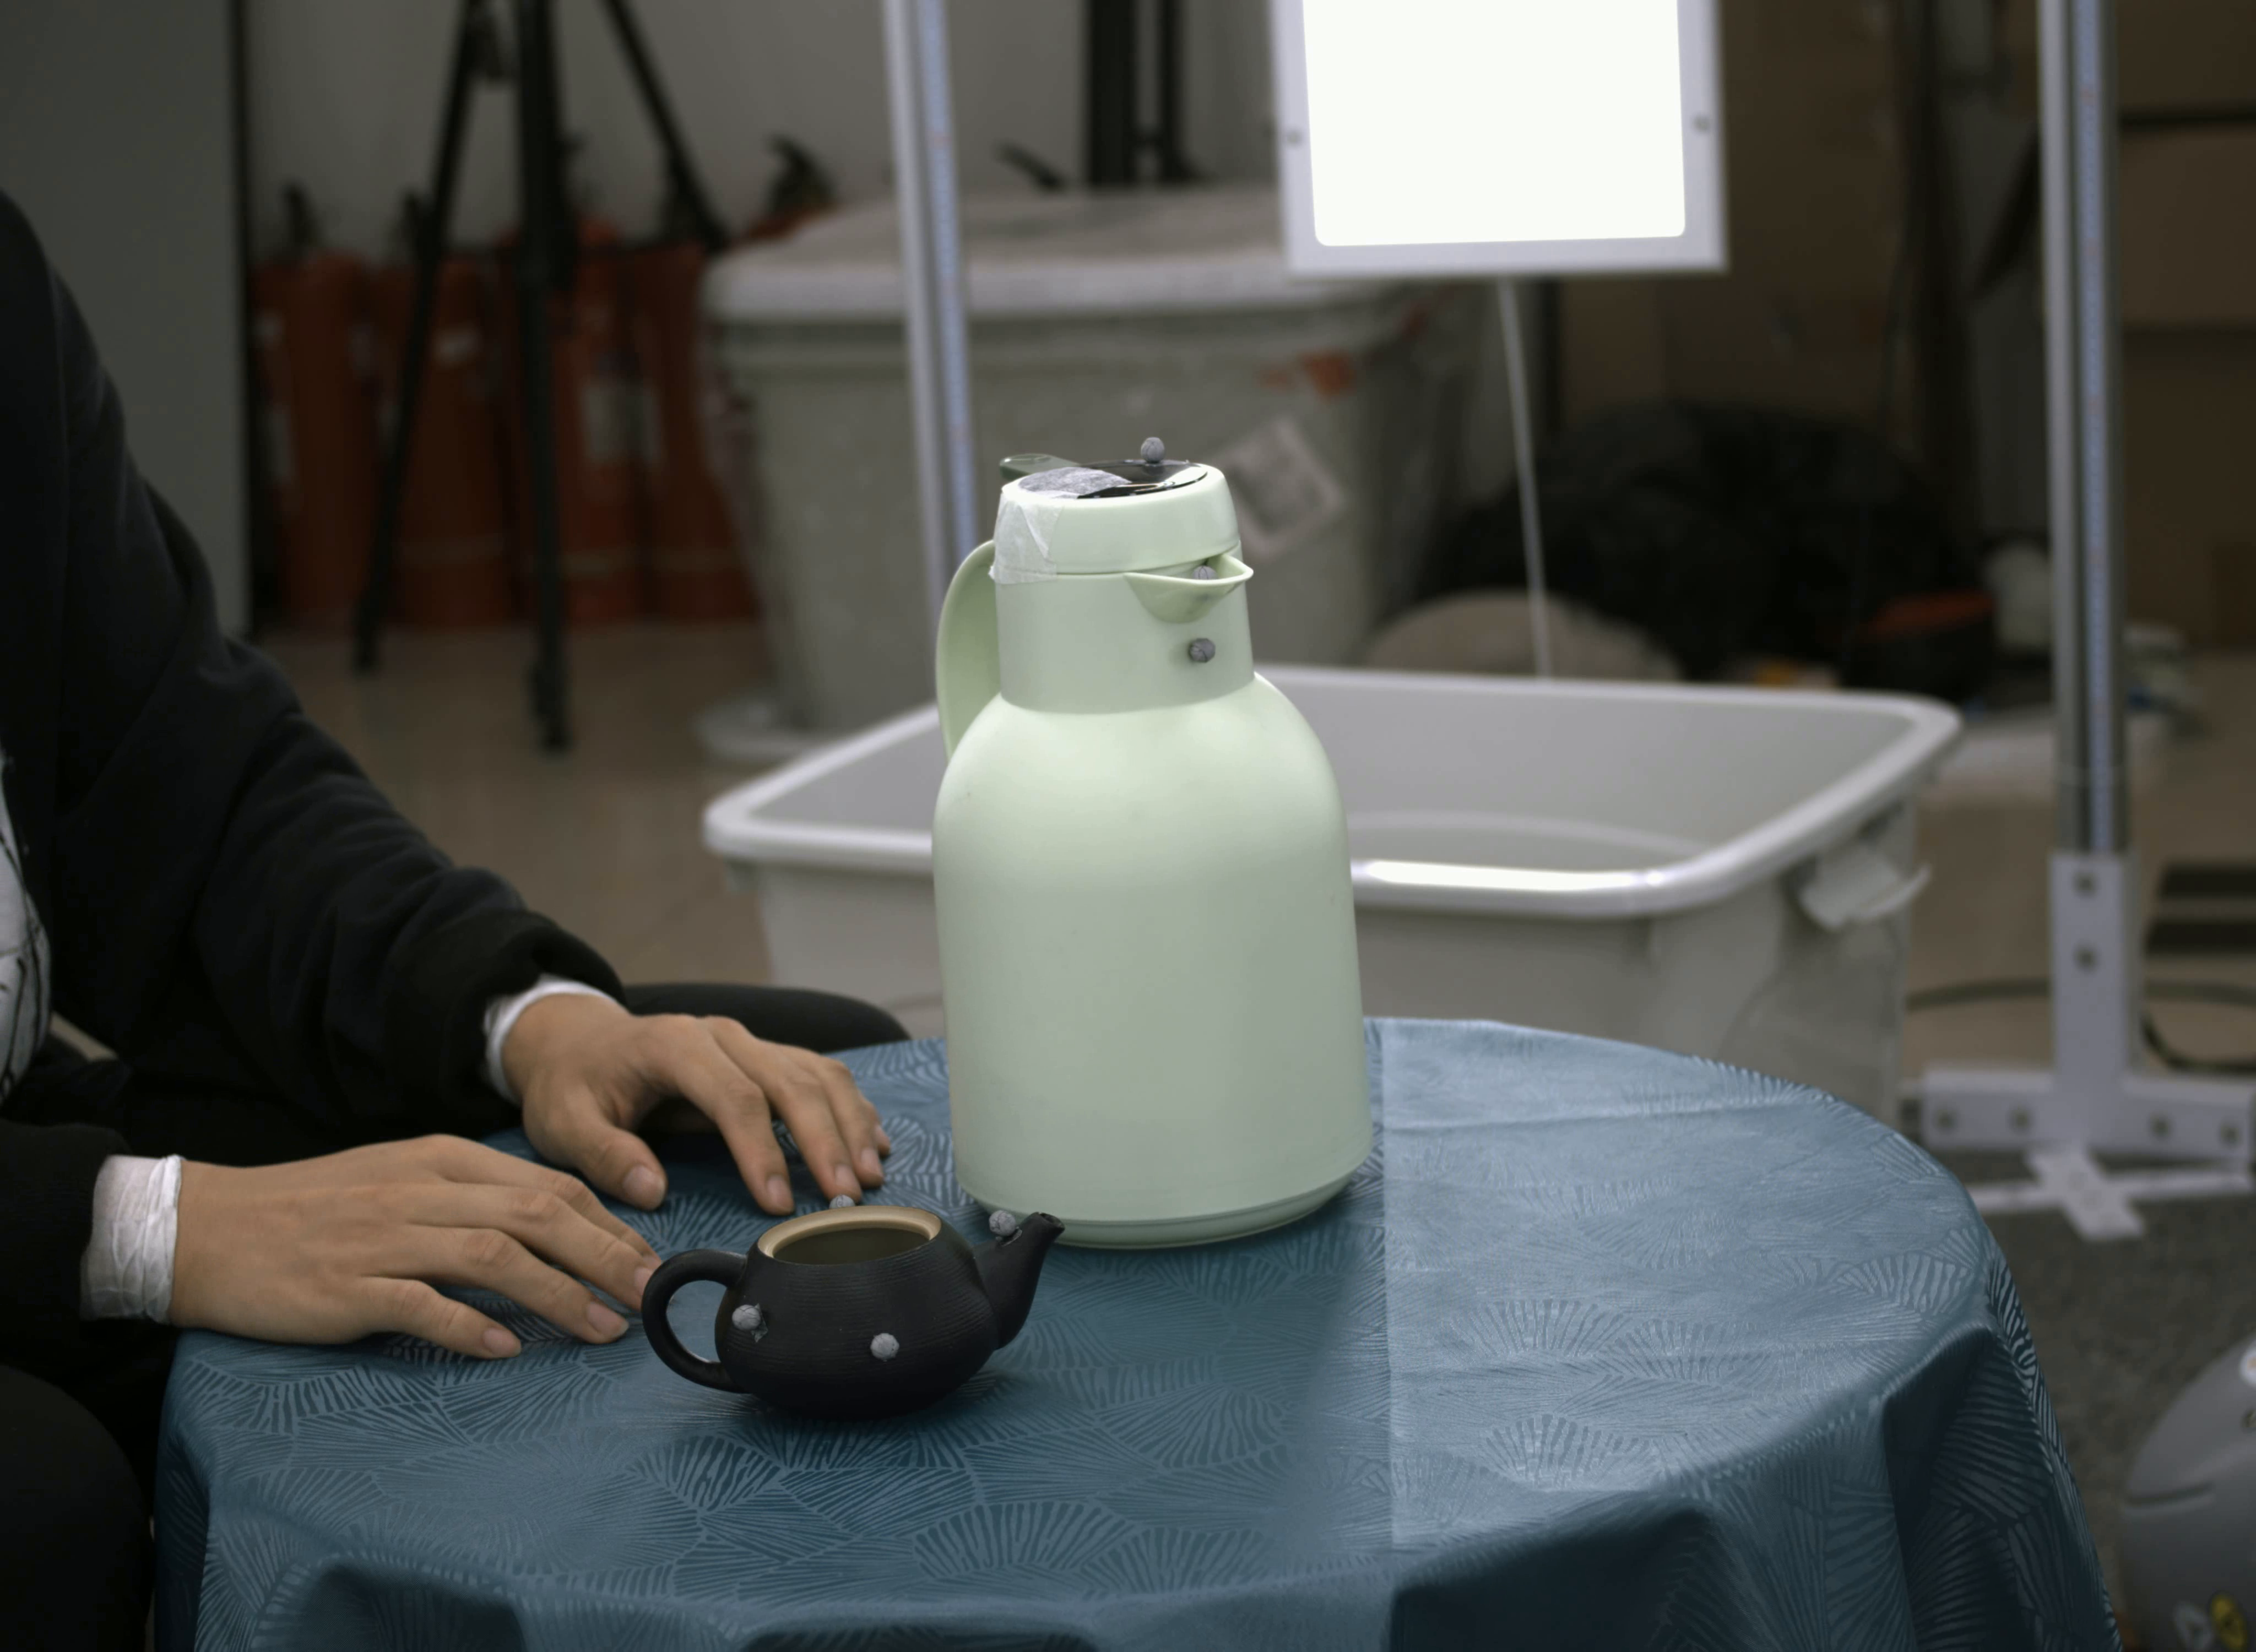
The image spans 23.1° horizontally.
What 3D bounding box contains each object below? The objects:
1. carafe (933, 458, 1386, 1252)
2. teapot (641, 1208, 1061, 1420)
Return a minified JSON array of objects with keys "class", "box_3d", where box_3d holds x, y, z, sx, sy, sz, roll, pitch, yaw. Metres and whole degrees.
[{"class":"carafe","box_3d":[-0.002,0.004,1.875,0.141,0.257,0.190,-14,13,-29]},{"class":"teapot","box_3d":[-0.085,0.152,1.716,0.132,0.053,0.091,-6,12,-3]}]
